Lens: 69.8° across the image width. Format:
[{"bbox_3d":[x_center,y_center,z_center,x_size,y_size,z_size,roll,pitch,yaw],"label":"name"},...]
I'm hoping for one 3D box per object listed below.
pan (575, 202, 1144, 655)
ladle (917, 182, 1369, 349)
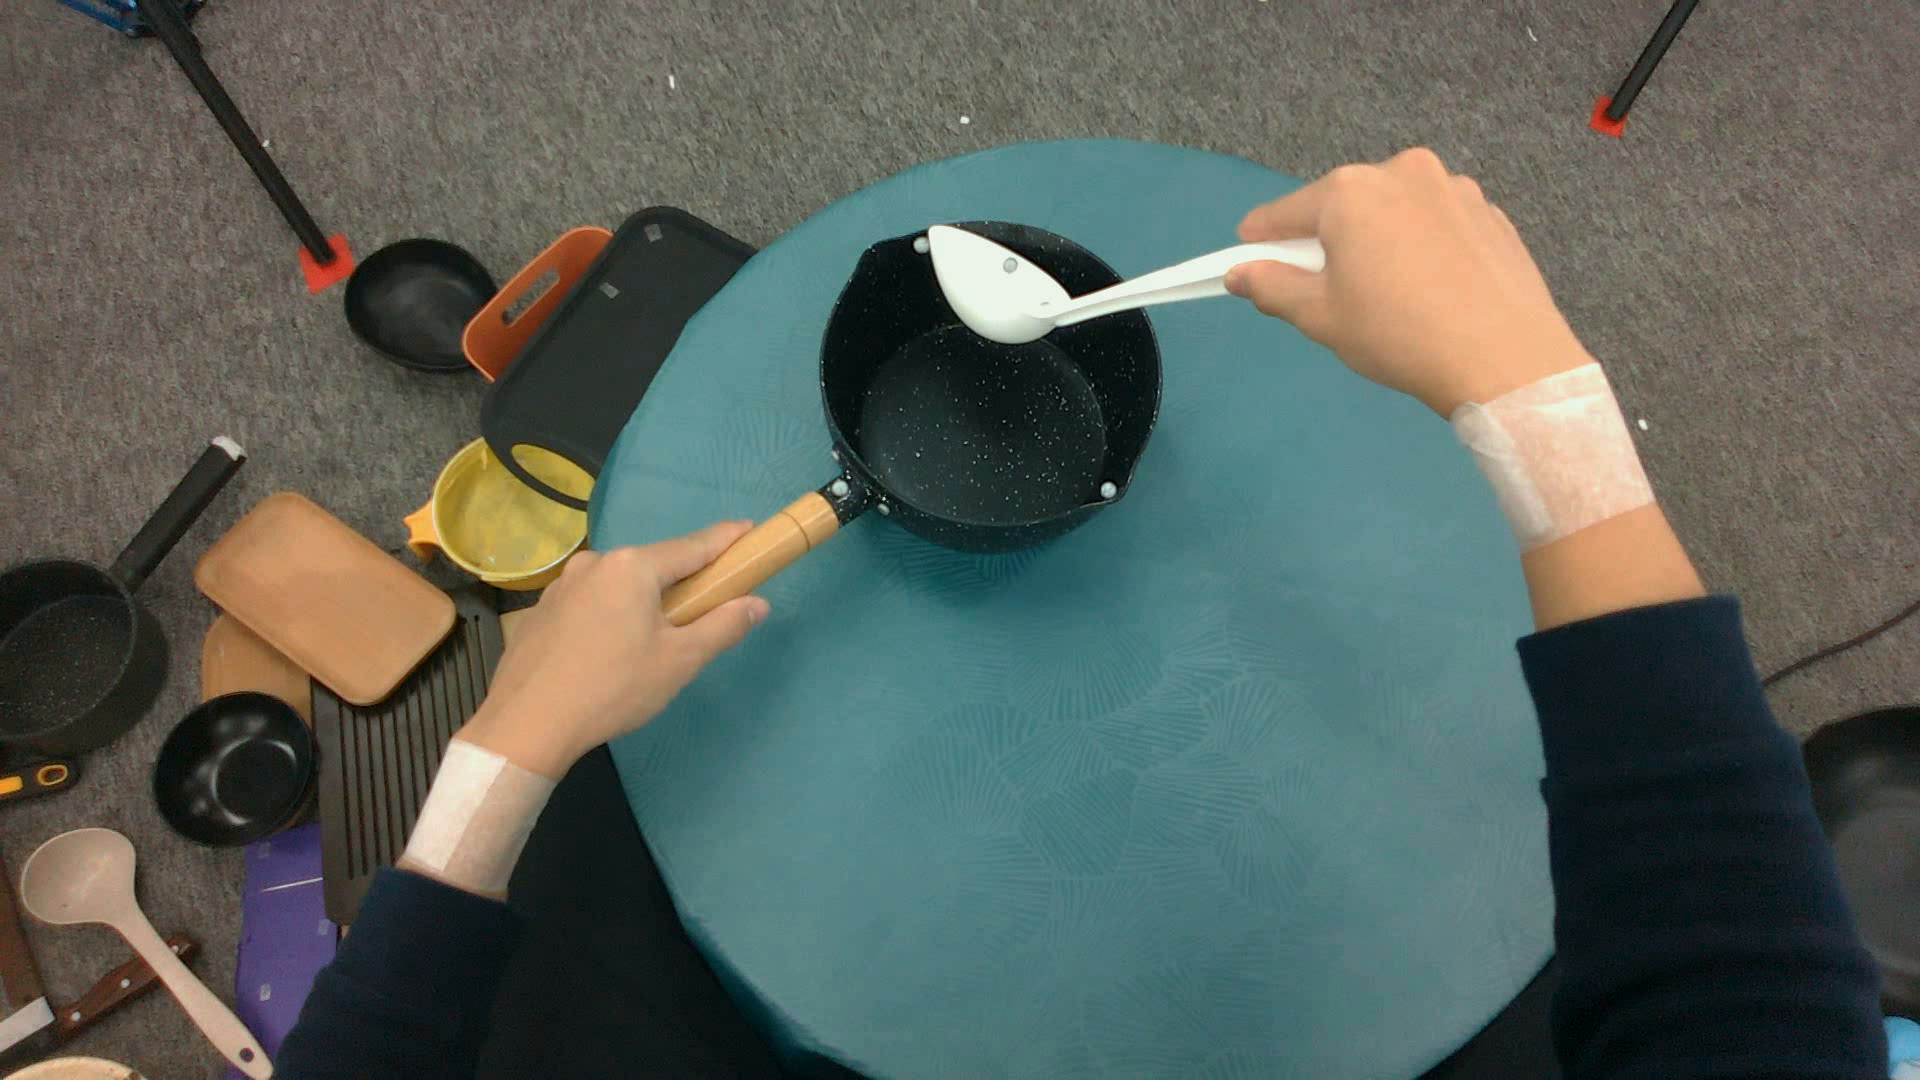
[{"bbox_3d":[-0.052,-0.040,0.734,0.344,0.108,0.207,-41,77,-19],"label":"pan"},{"bbox_3d":[0.075,-0.139,0.663,0.090,0.292,0.070,20,78,-31],"label":"ladle"}]
